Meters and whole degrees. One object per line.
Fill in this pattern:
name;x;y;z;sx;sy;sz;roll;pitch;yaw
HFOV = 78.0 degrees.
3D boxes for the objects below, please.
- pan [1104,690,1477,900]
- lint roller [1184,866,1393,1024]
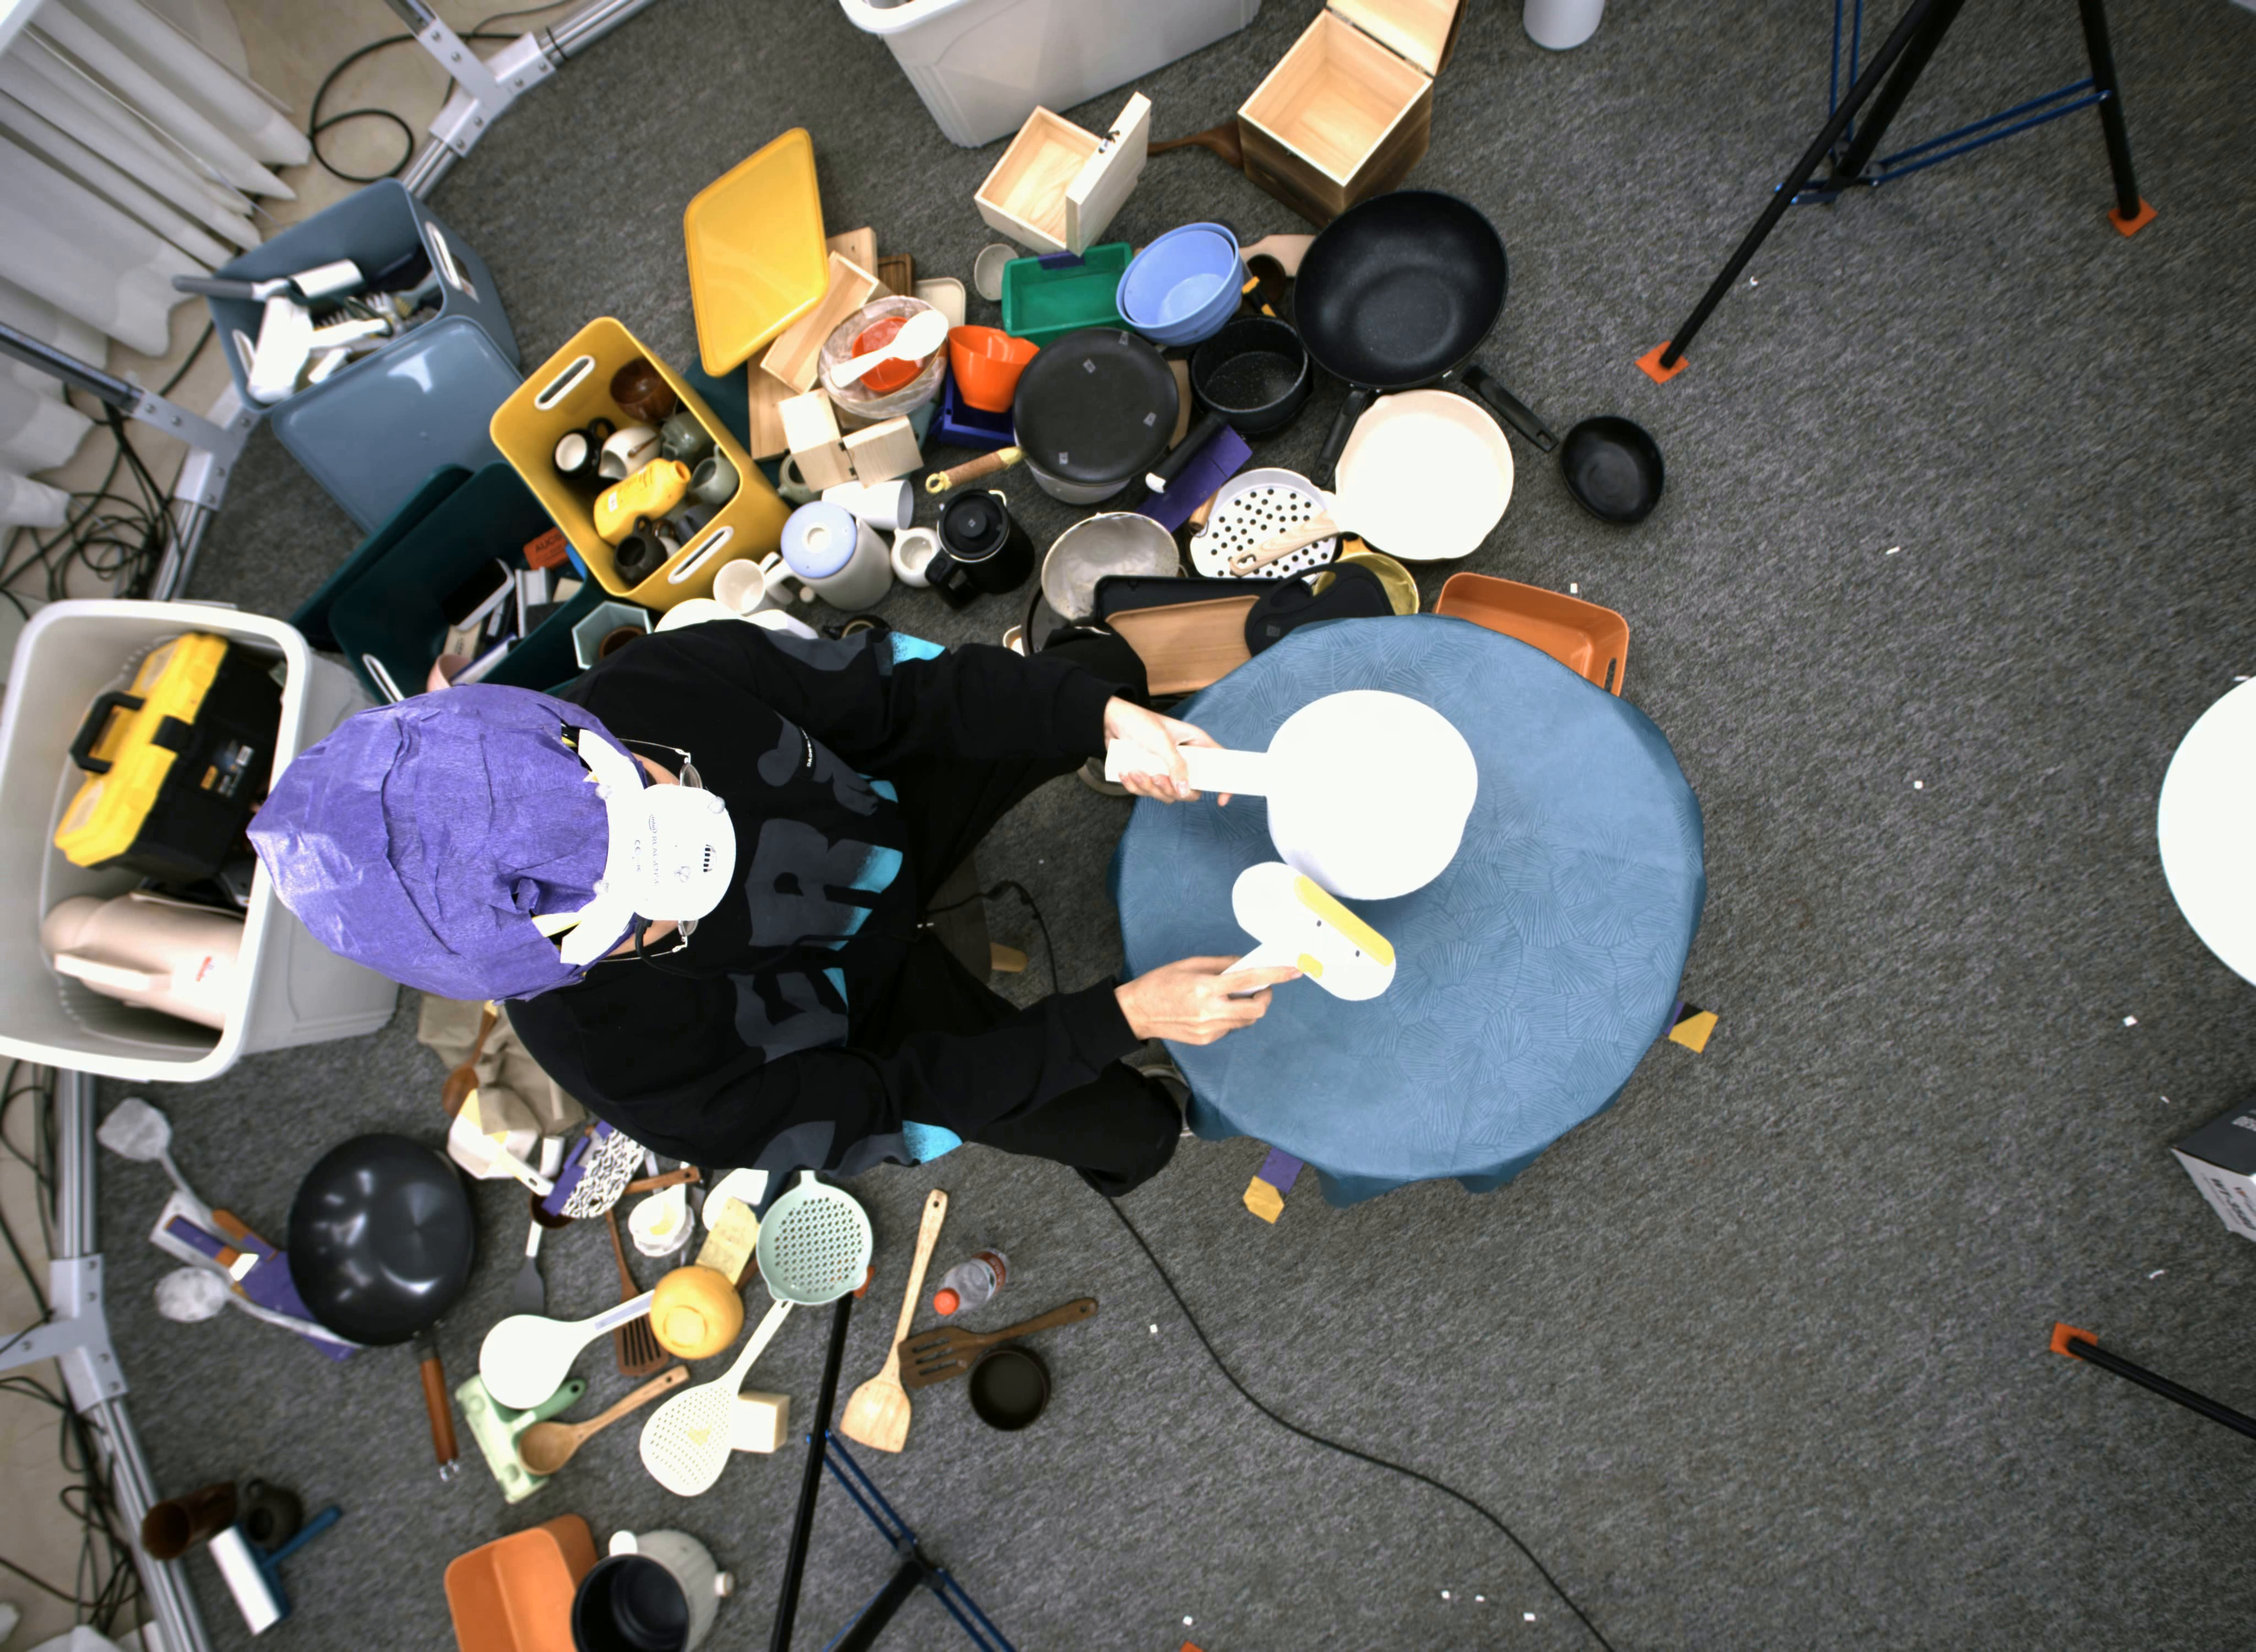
pan;0.156;-0.033;1.353;0.356;0.104;0.196;5;59;8
lint roller;0.127;0.127;1.301;0.196;0.194;0.072;-31;44;38
